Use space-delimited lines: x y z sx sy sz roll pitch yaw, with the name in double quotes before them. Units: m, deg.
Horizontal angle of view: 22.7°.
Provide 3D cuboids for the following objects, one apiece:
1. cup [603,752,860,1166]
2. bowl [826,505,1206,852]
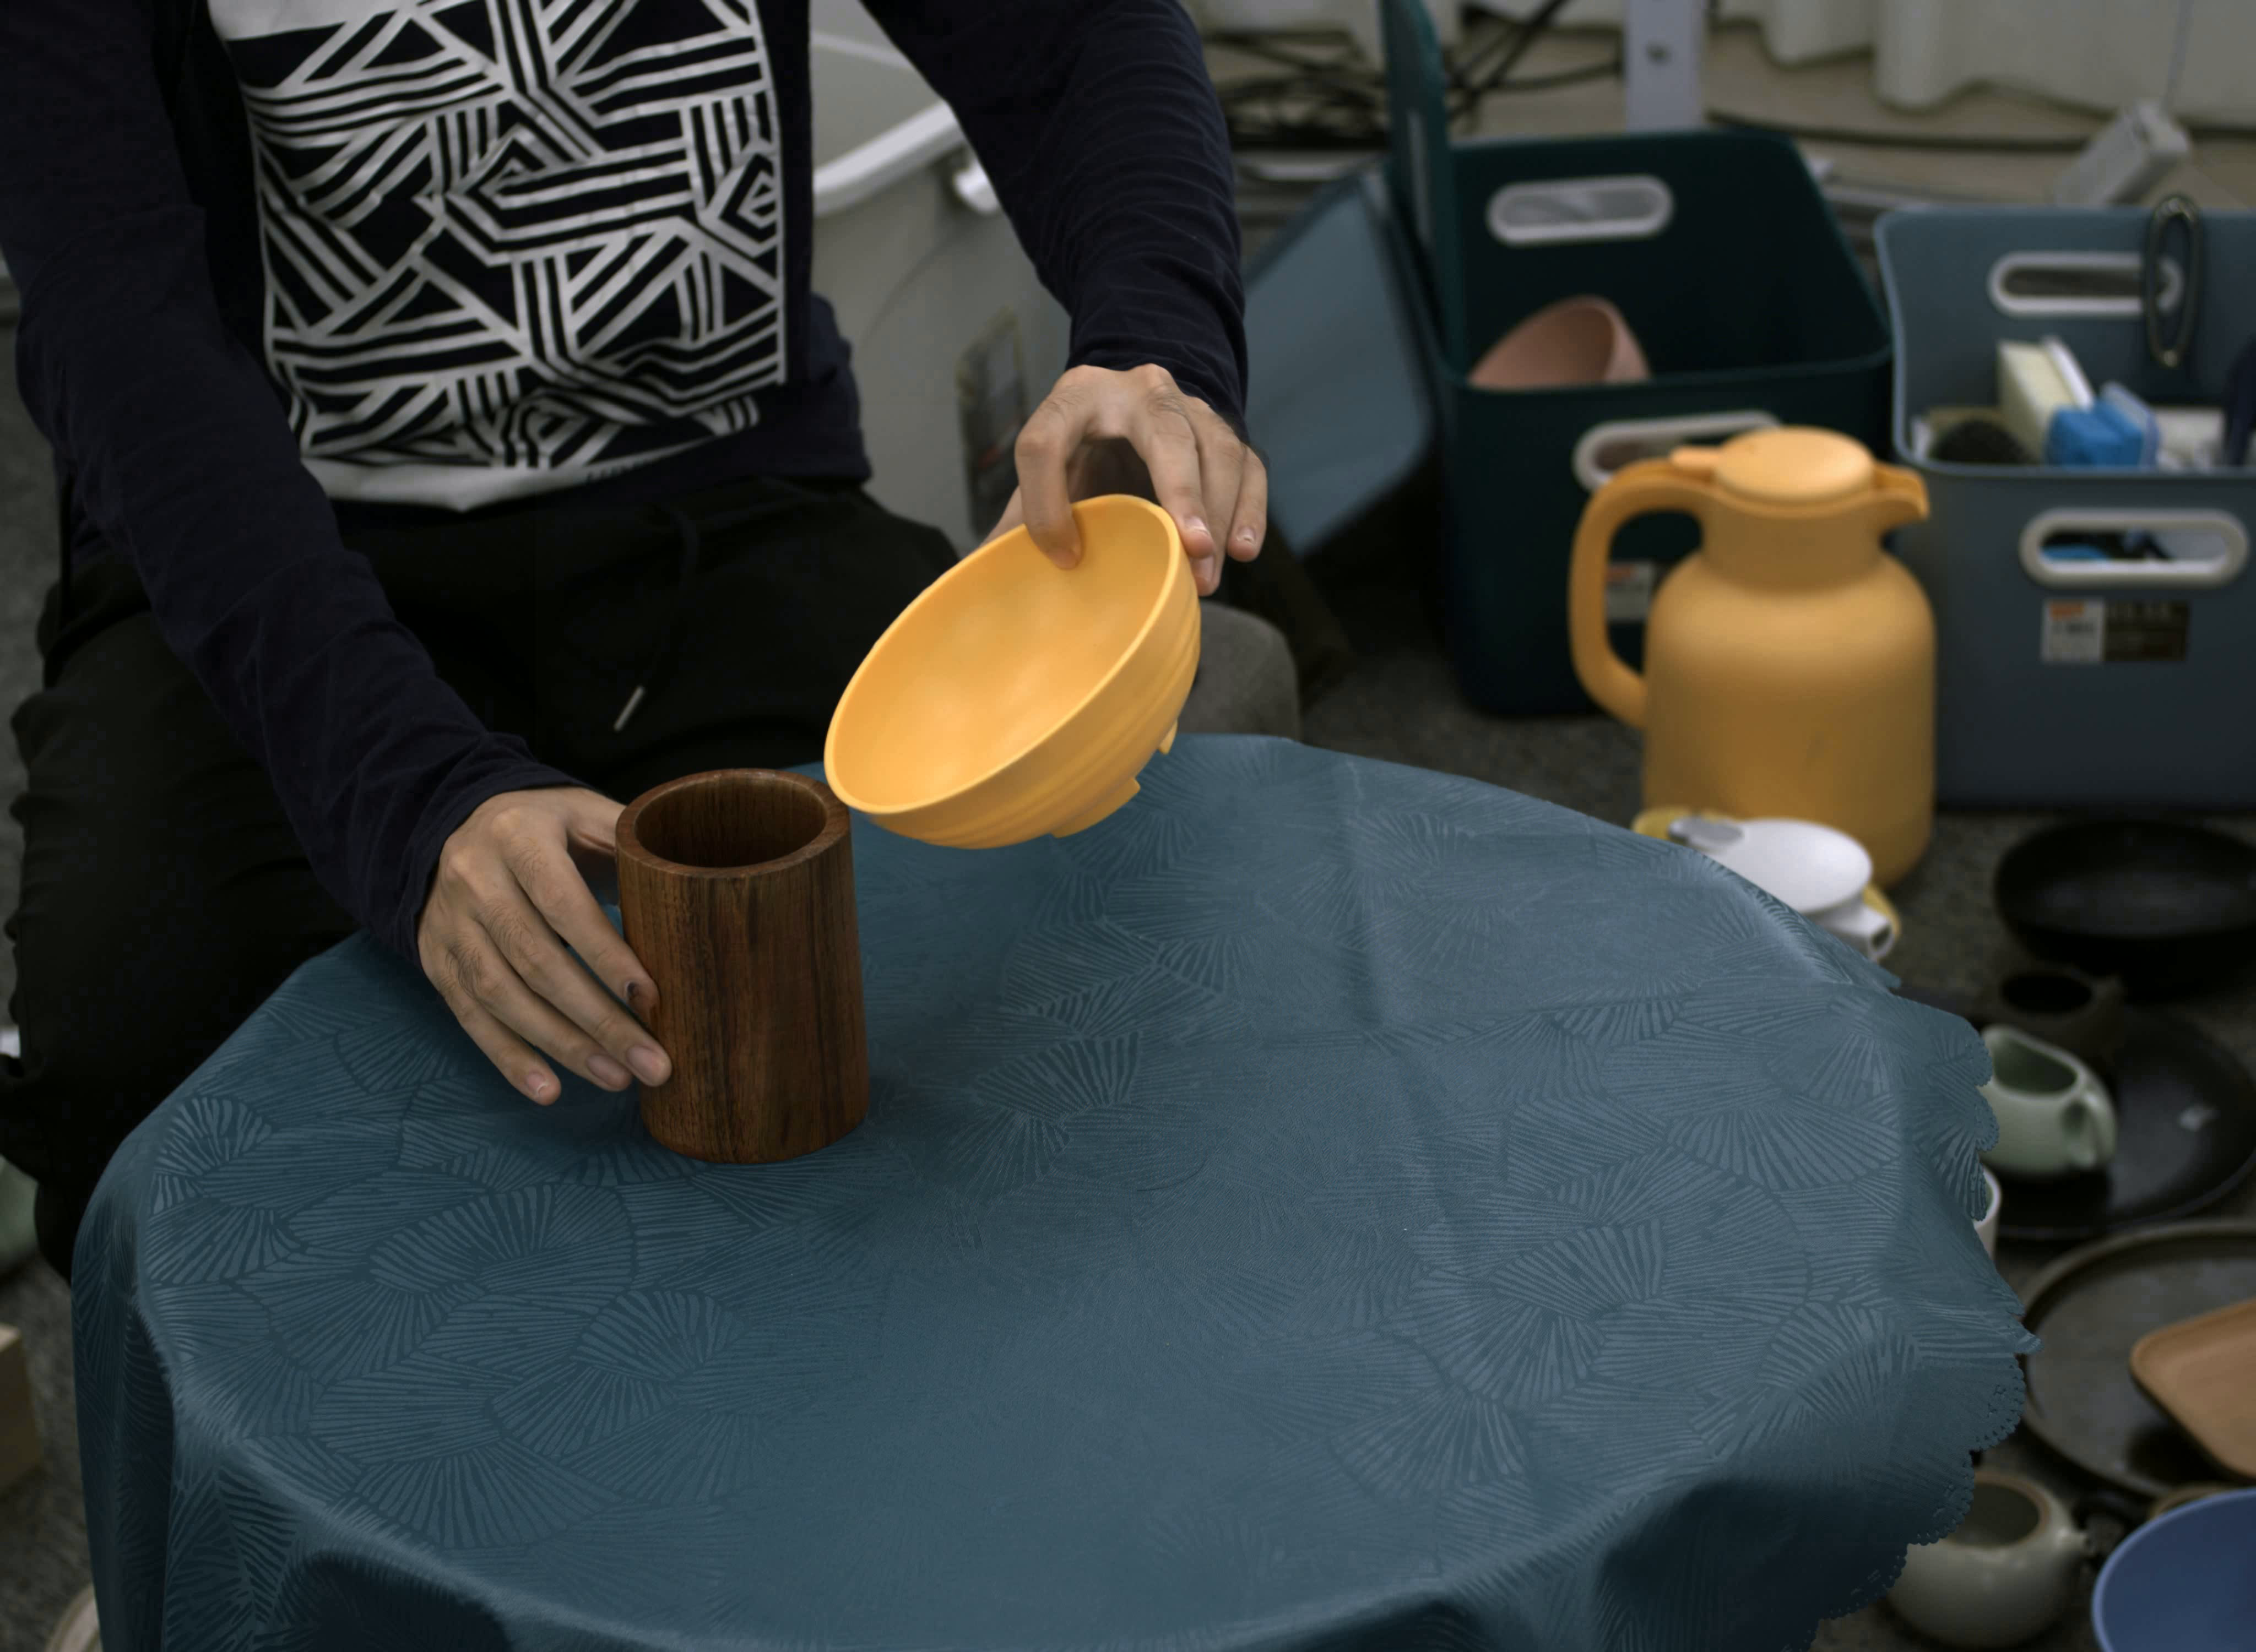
"cup" -0.133 0.044 1.894 0.087 0.117 0.089 0 26 0
"bowl" -0.026 -0.038 1.878 0.144 0.059 0.148 -29 28 17
